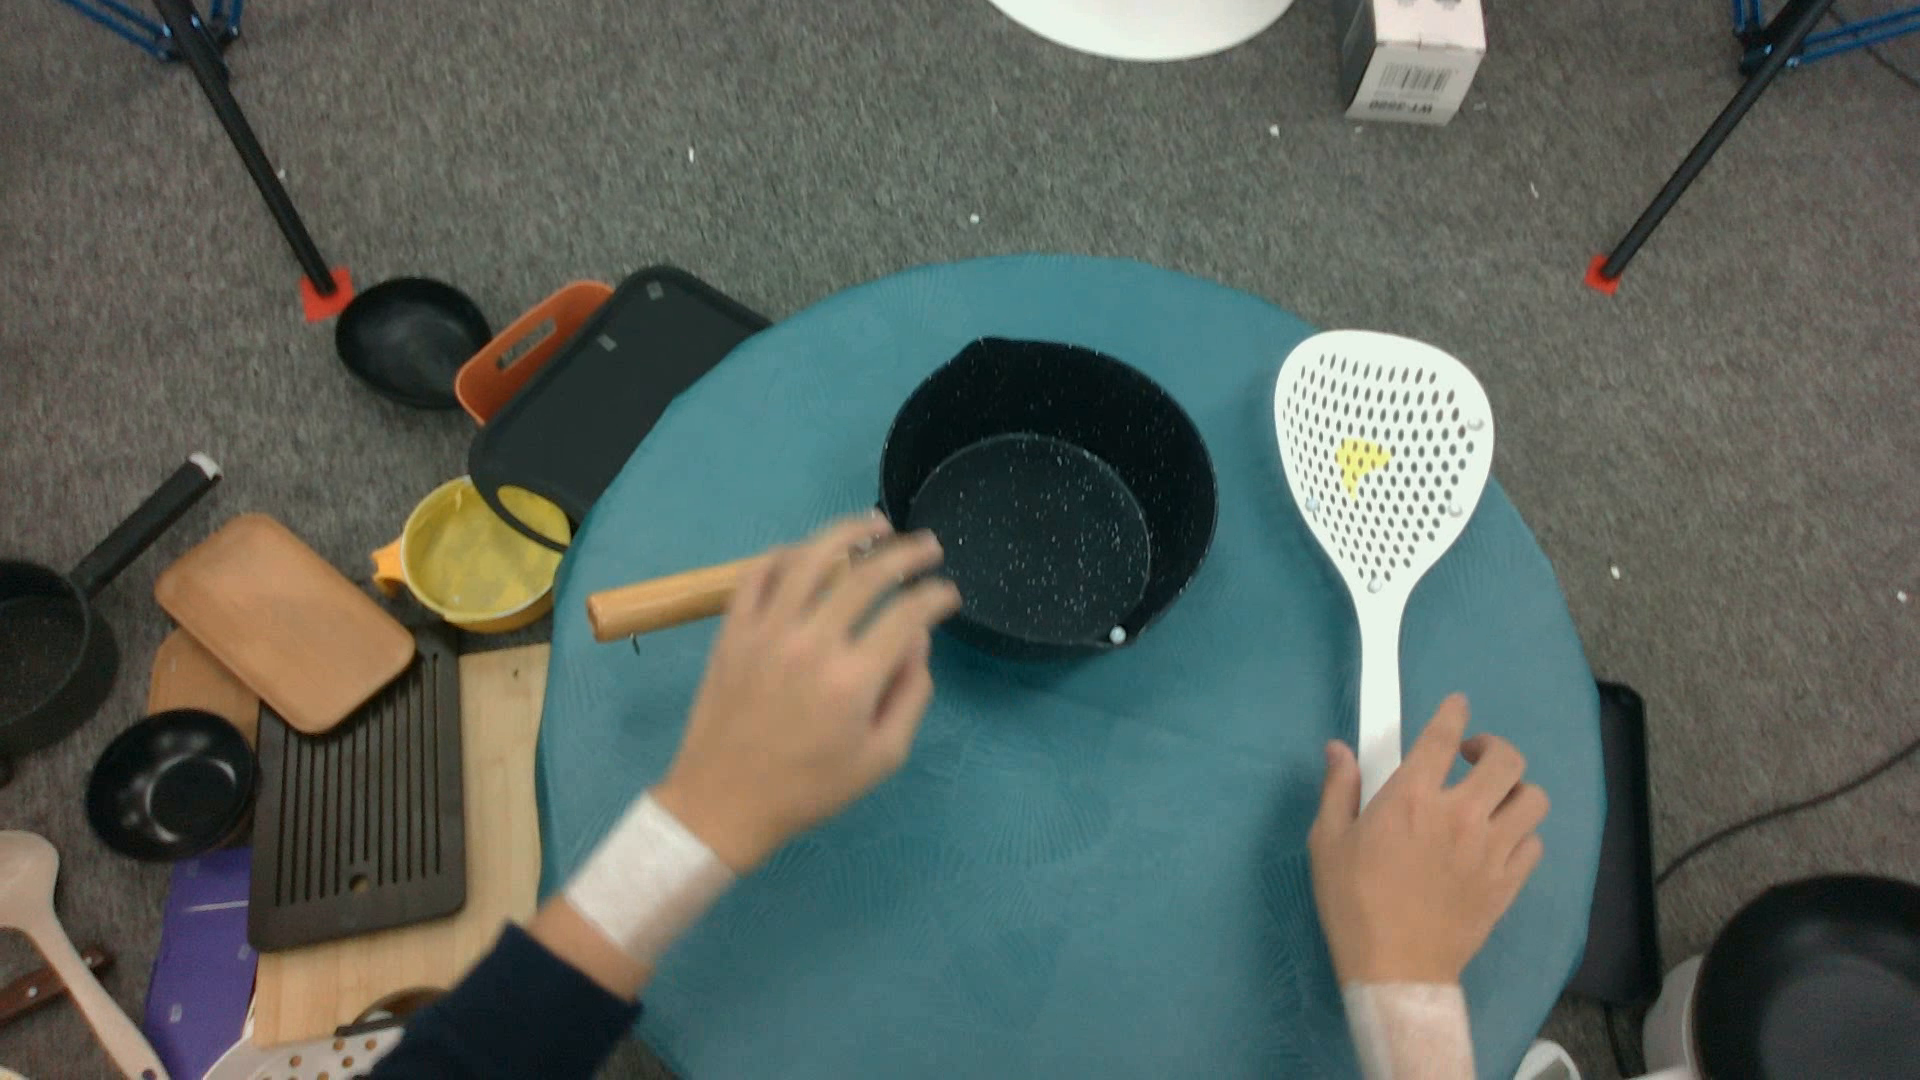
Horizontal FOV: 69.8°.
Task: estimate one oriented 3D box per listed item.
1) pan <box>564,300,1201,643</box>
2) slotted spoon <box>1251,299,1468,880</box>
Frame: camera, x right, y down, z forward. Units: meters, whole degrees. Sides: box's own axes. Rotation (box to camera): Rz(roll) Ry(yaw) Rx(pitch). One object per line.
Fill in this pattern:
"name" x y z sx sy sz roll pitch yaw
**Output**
"pan" -0.037 -0.007 0.740 0.343 0.108 0.208 -20 71 -17
"slotted spoon" 0.230 0.017 0.799 0.137 0.050 0.349 8 64 -6
